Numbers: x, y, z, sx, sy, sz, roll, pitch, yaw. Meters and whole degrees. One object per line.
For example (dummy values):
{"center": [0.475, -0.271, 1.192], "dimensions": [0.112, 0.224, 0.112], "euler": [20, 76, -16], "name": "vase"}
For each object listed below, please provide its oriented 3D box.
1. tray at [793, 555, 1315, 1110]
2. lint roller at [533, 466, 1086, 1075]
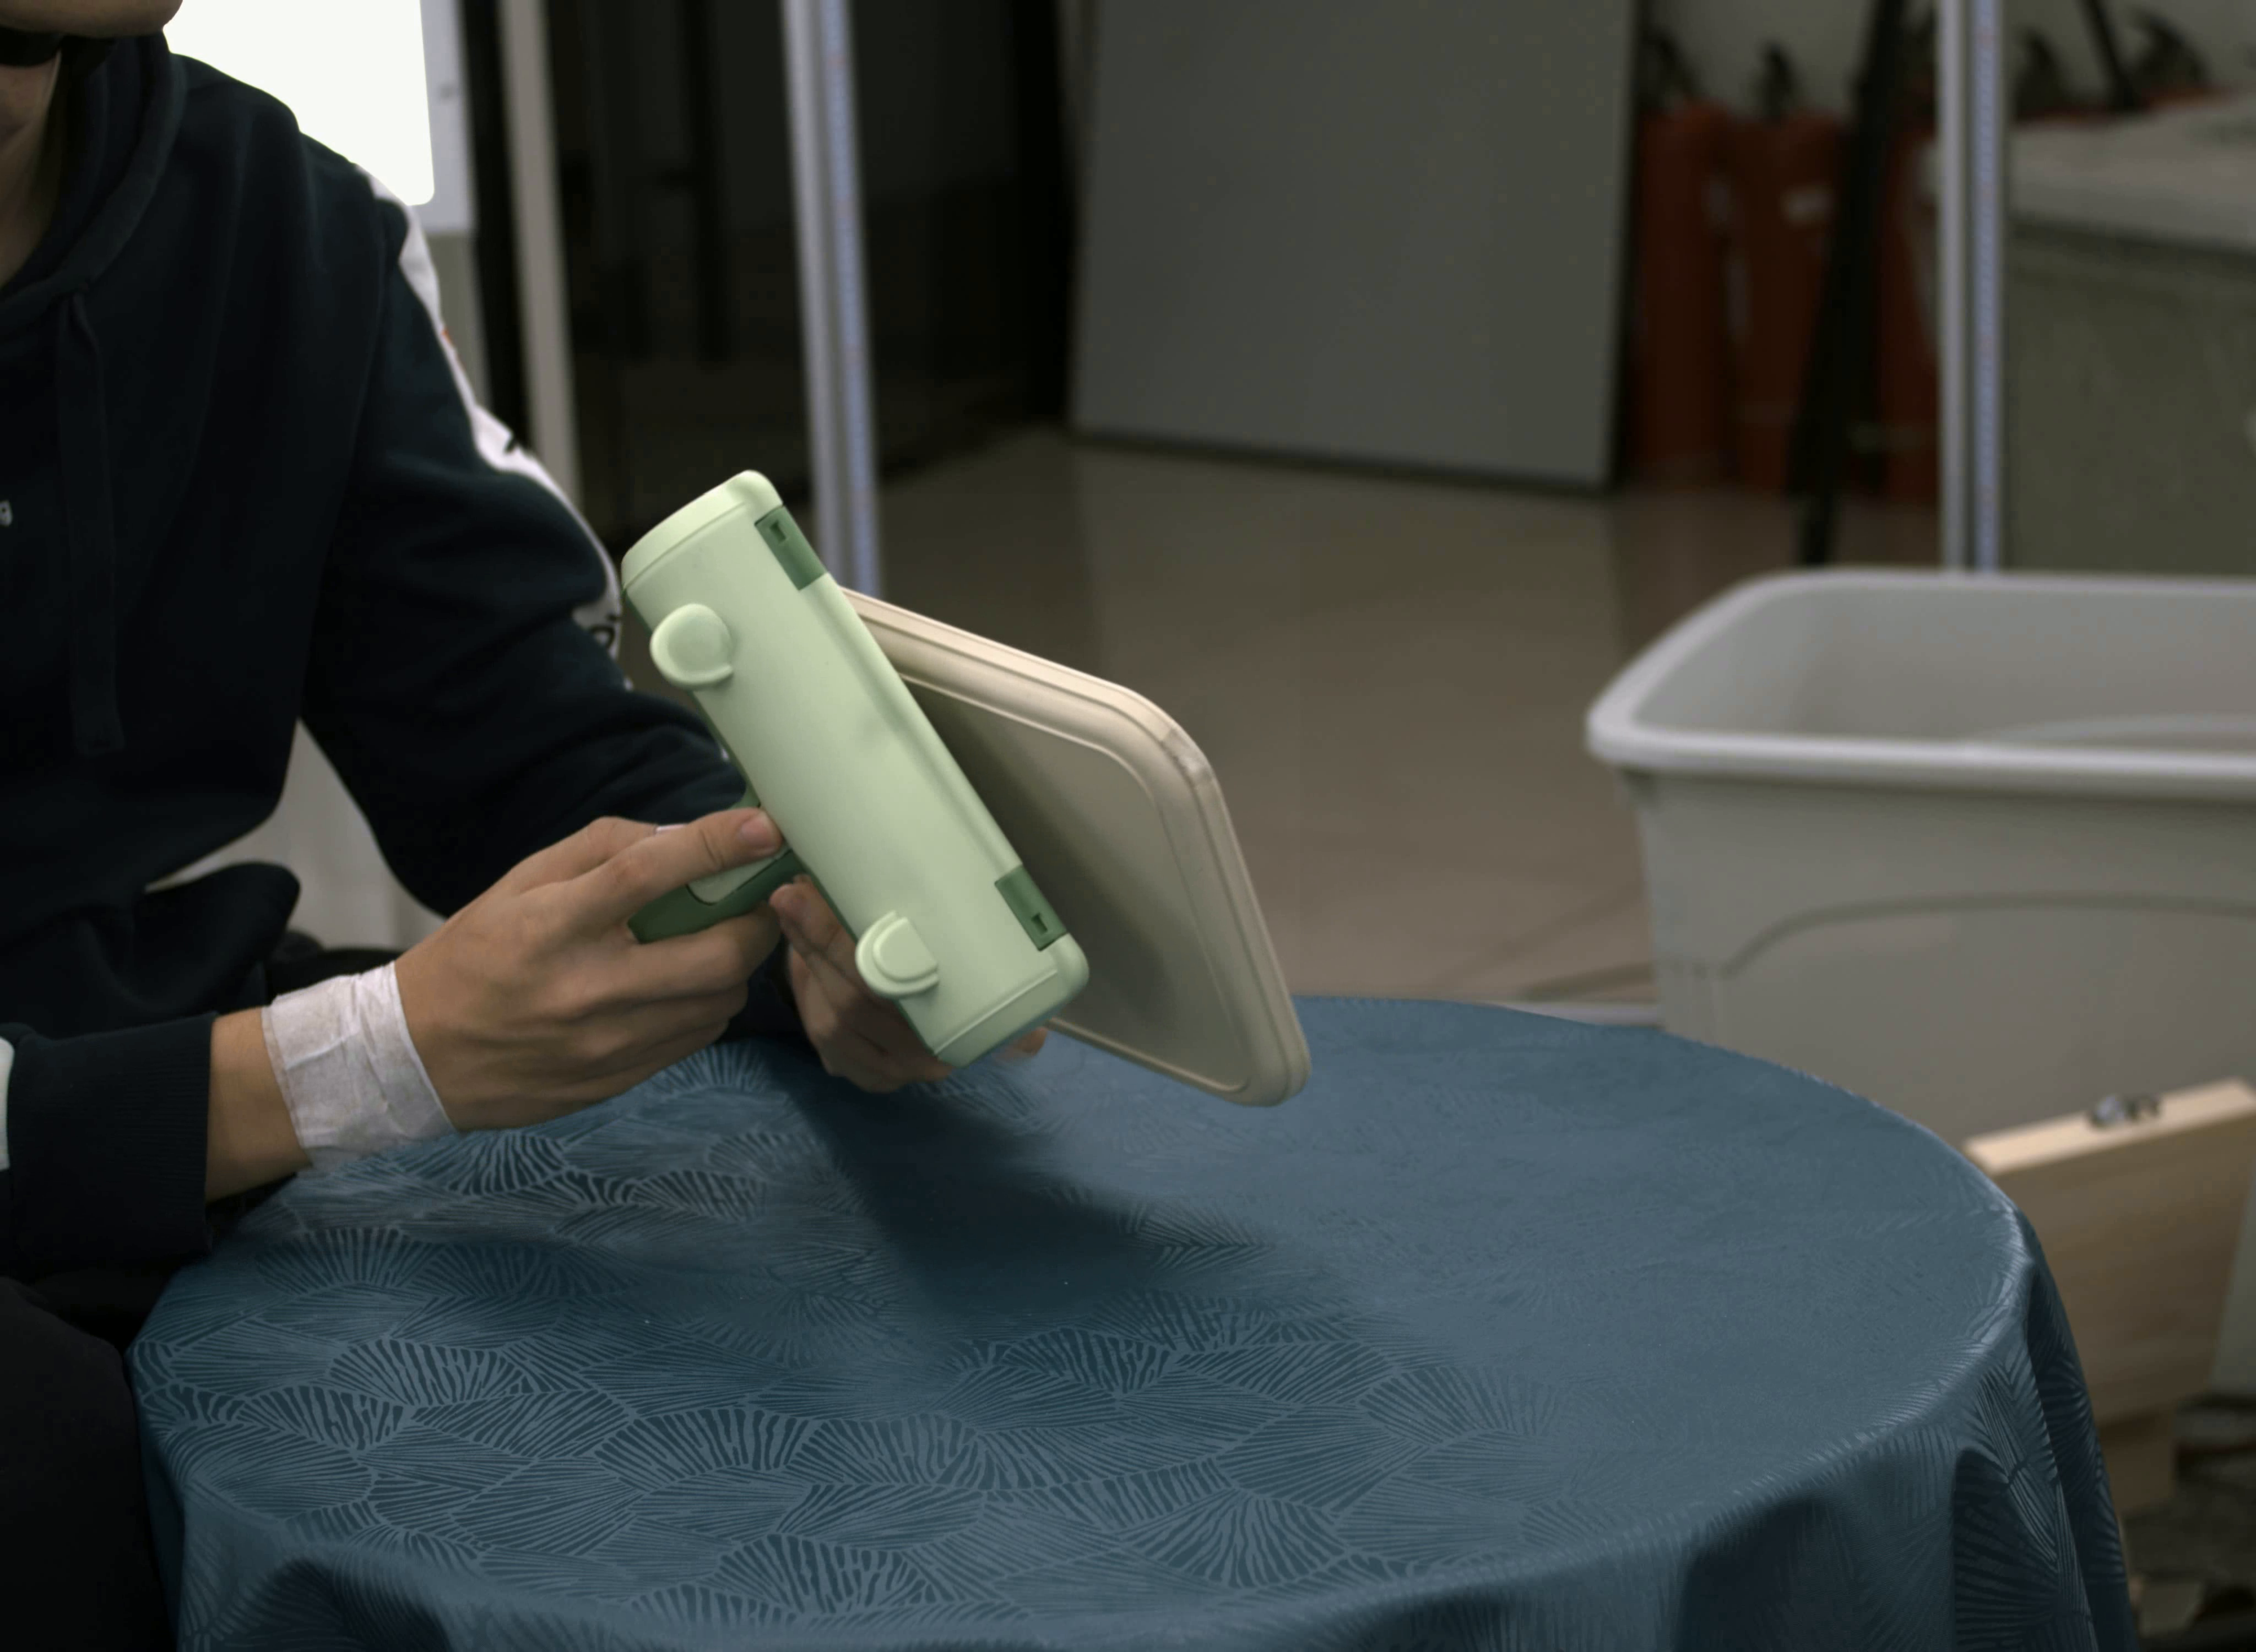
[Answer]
{"center": [-0.044, 0.001, 1.734], "dimensions": [0.242, 0.171, 0.017], "euler": [20, 50, 42], "name": "tray"}
{"center": [-0.132, 0.016, 1.708], "dimensions": [0.184, 0.200, 0.081], "euler": [-36, -4, 22], "name": "lint roller"}
